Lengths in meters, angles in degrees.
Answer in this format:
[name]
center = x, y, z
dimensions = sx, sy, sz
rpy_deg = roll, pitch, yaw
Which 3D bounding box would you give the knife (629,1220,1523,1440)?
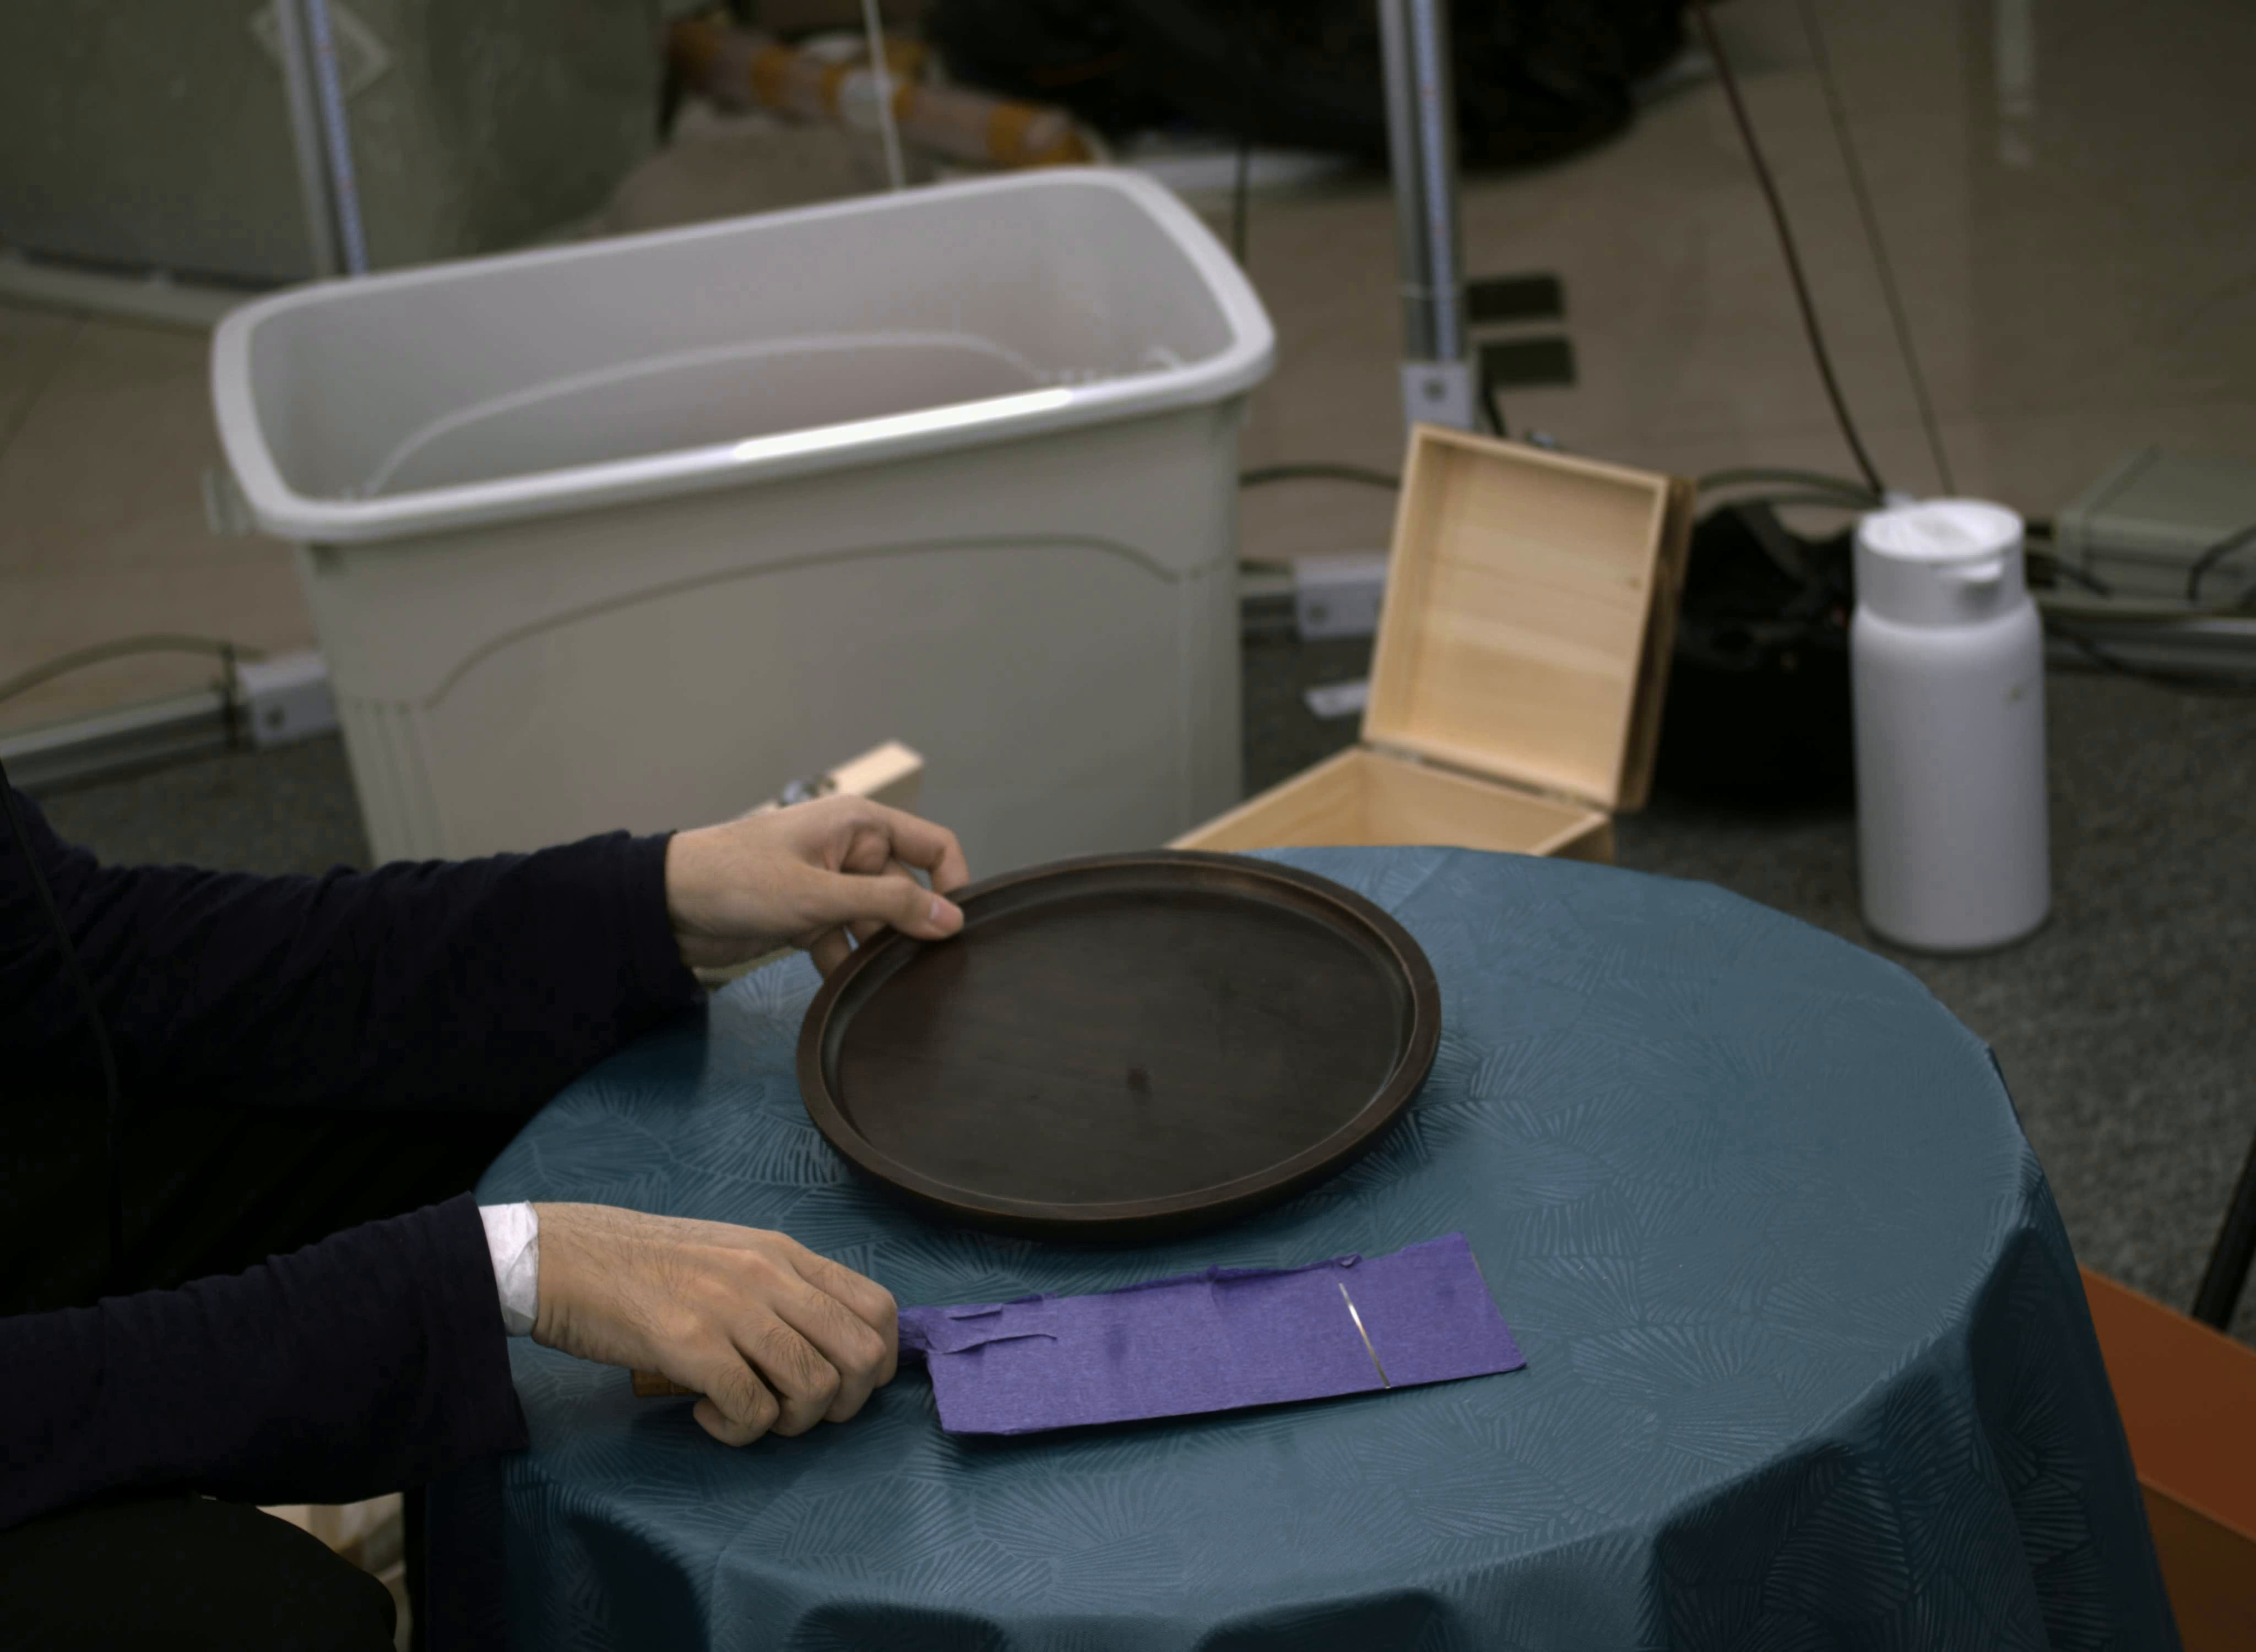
[knife]
center = -0.019, 0.185, 2.024
dimensions = 0.314, 0.033, 0.102
rpy_deg = -9, 24, -6

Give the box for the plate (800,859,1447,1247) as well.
[plate]
center = -0.002, 0.086, 2.203
dimensions = 0.254, 0.029, 0.250
rpy_deg = -3, 32, 2
